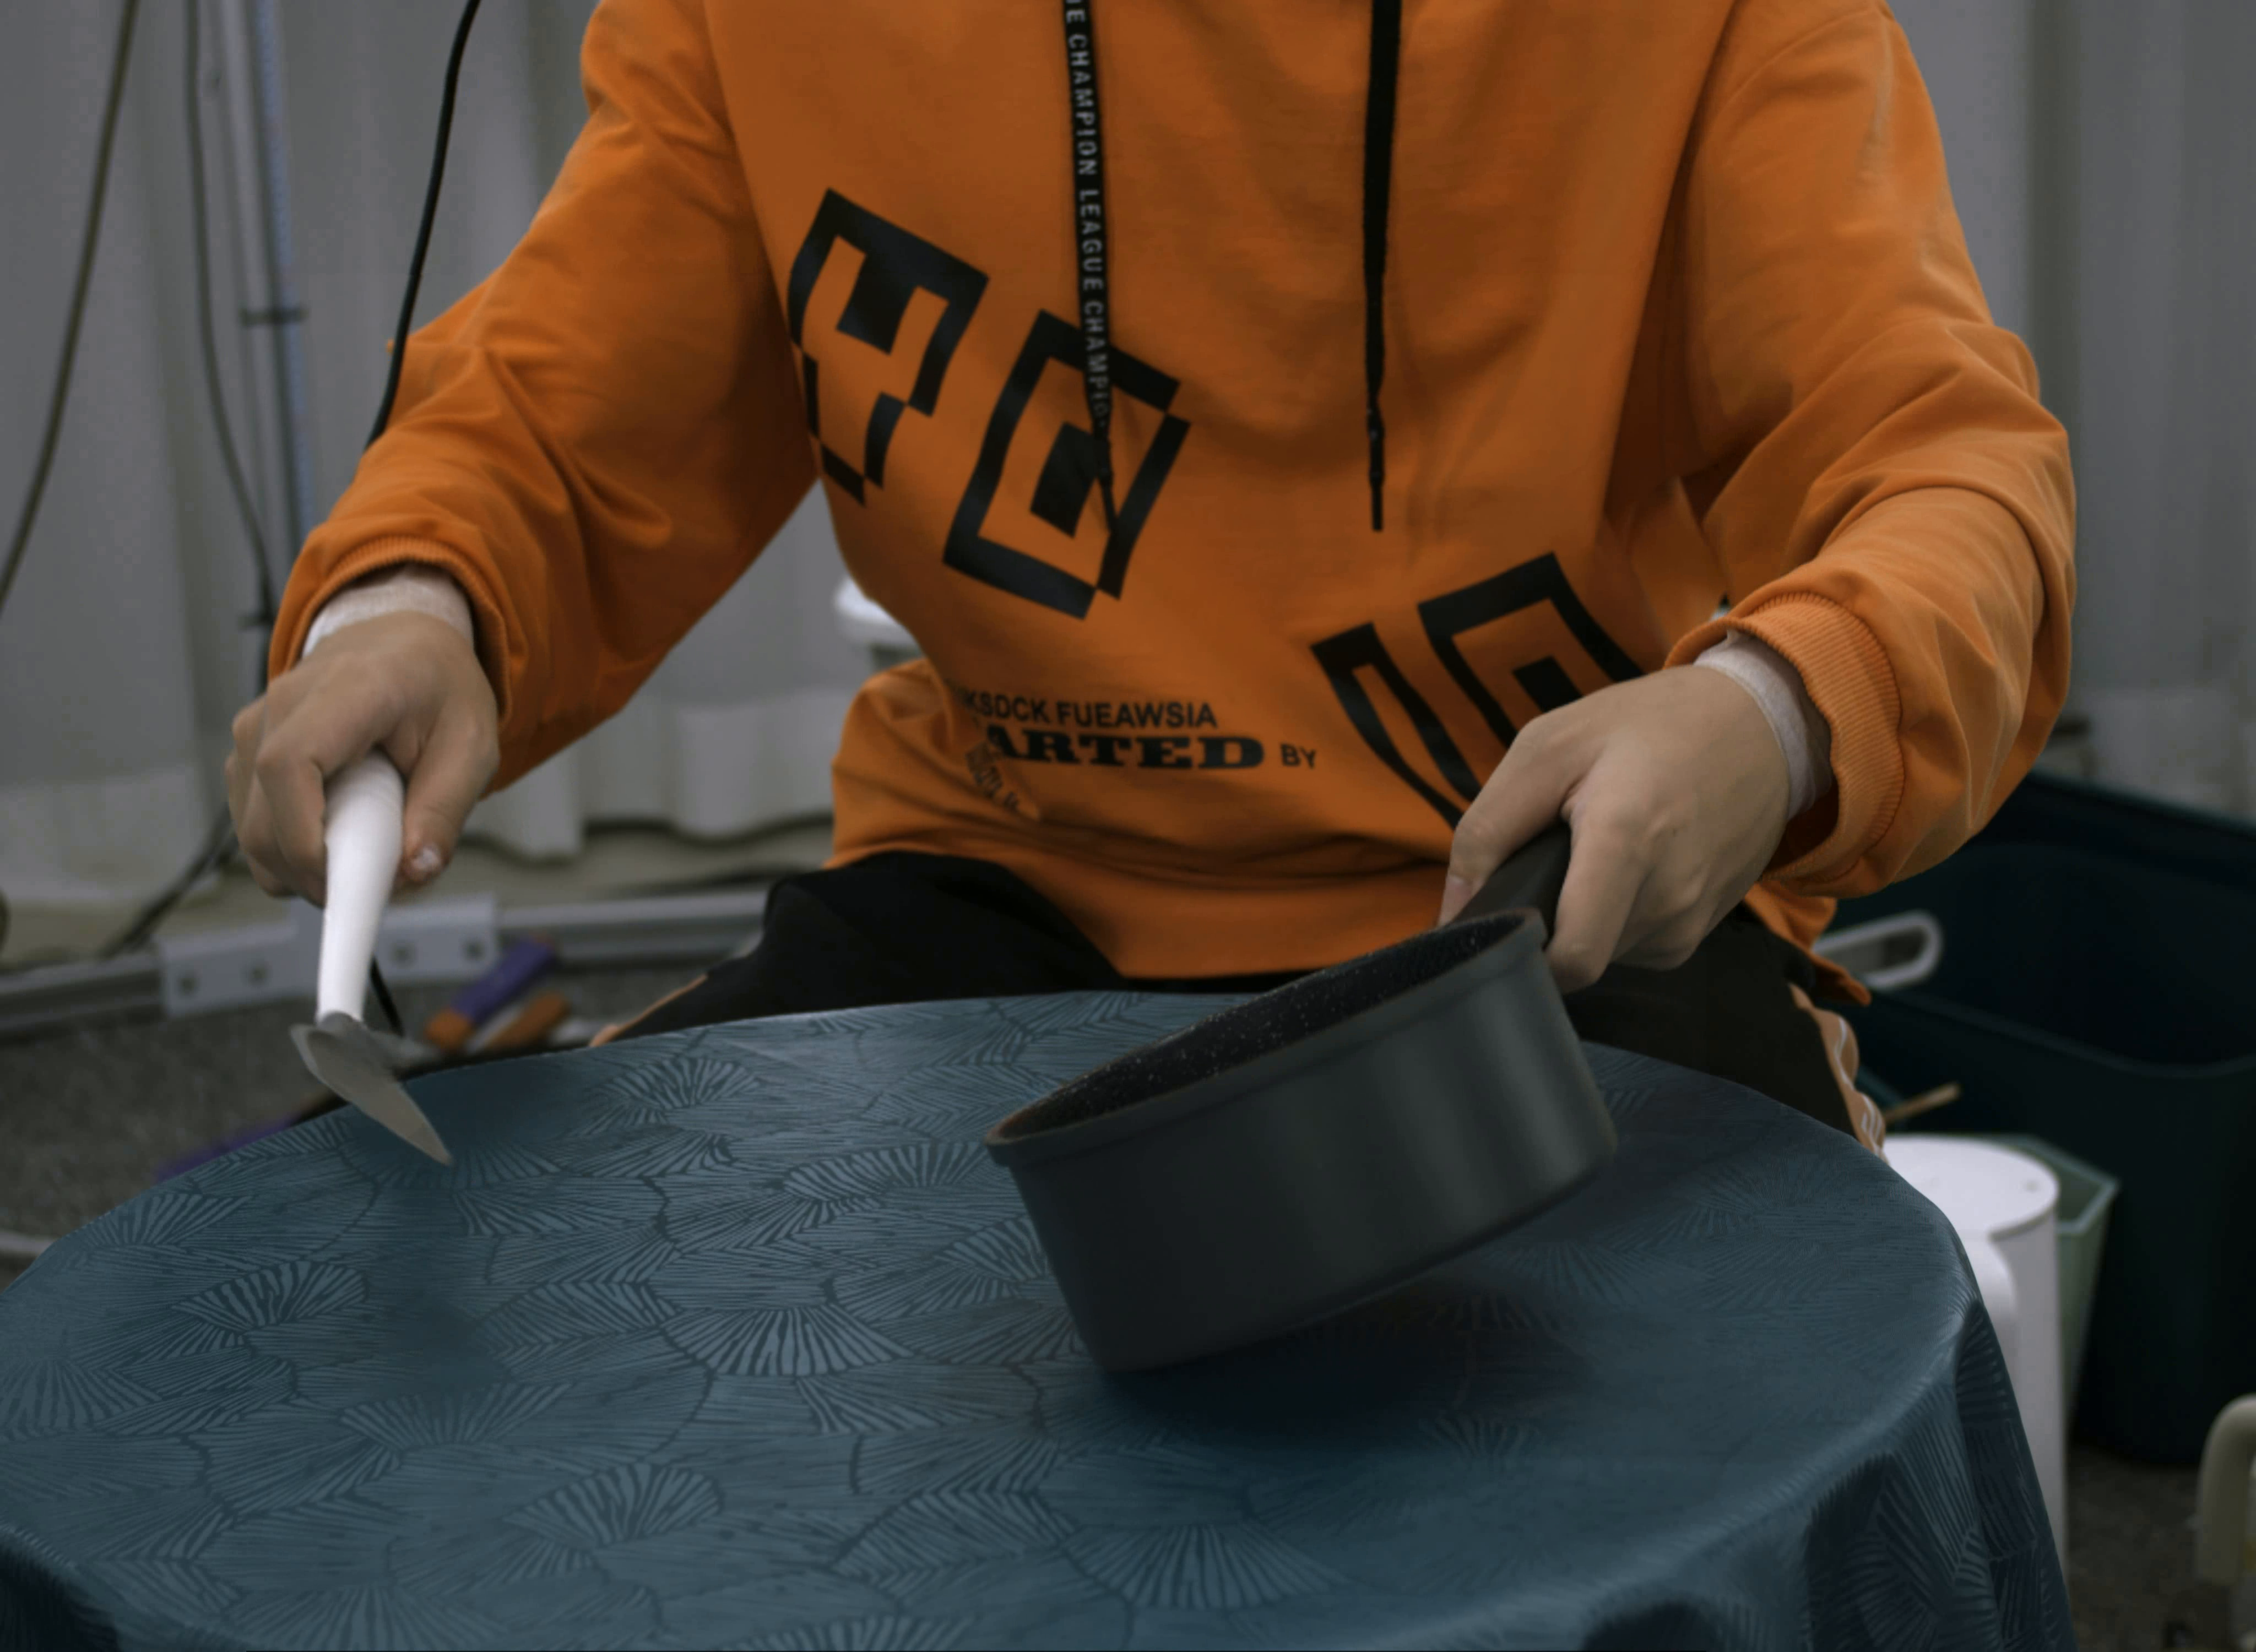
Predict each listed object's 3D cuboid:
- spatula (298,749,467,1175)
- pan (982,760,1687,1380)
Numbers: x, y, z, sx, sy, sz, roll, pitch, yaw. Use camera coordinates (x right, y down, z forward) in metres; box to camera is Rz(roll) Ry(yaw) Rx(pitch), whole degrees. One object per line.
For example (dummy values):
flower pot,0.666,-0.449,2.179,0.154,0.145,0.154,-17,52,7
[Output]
spatula,-0.237,0.042,1.708,0.032,0.058,0.290,-46,21,10
pan,0.091,0.067,1.613,0.171,0.086,0.329,-18,7,35
